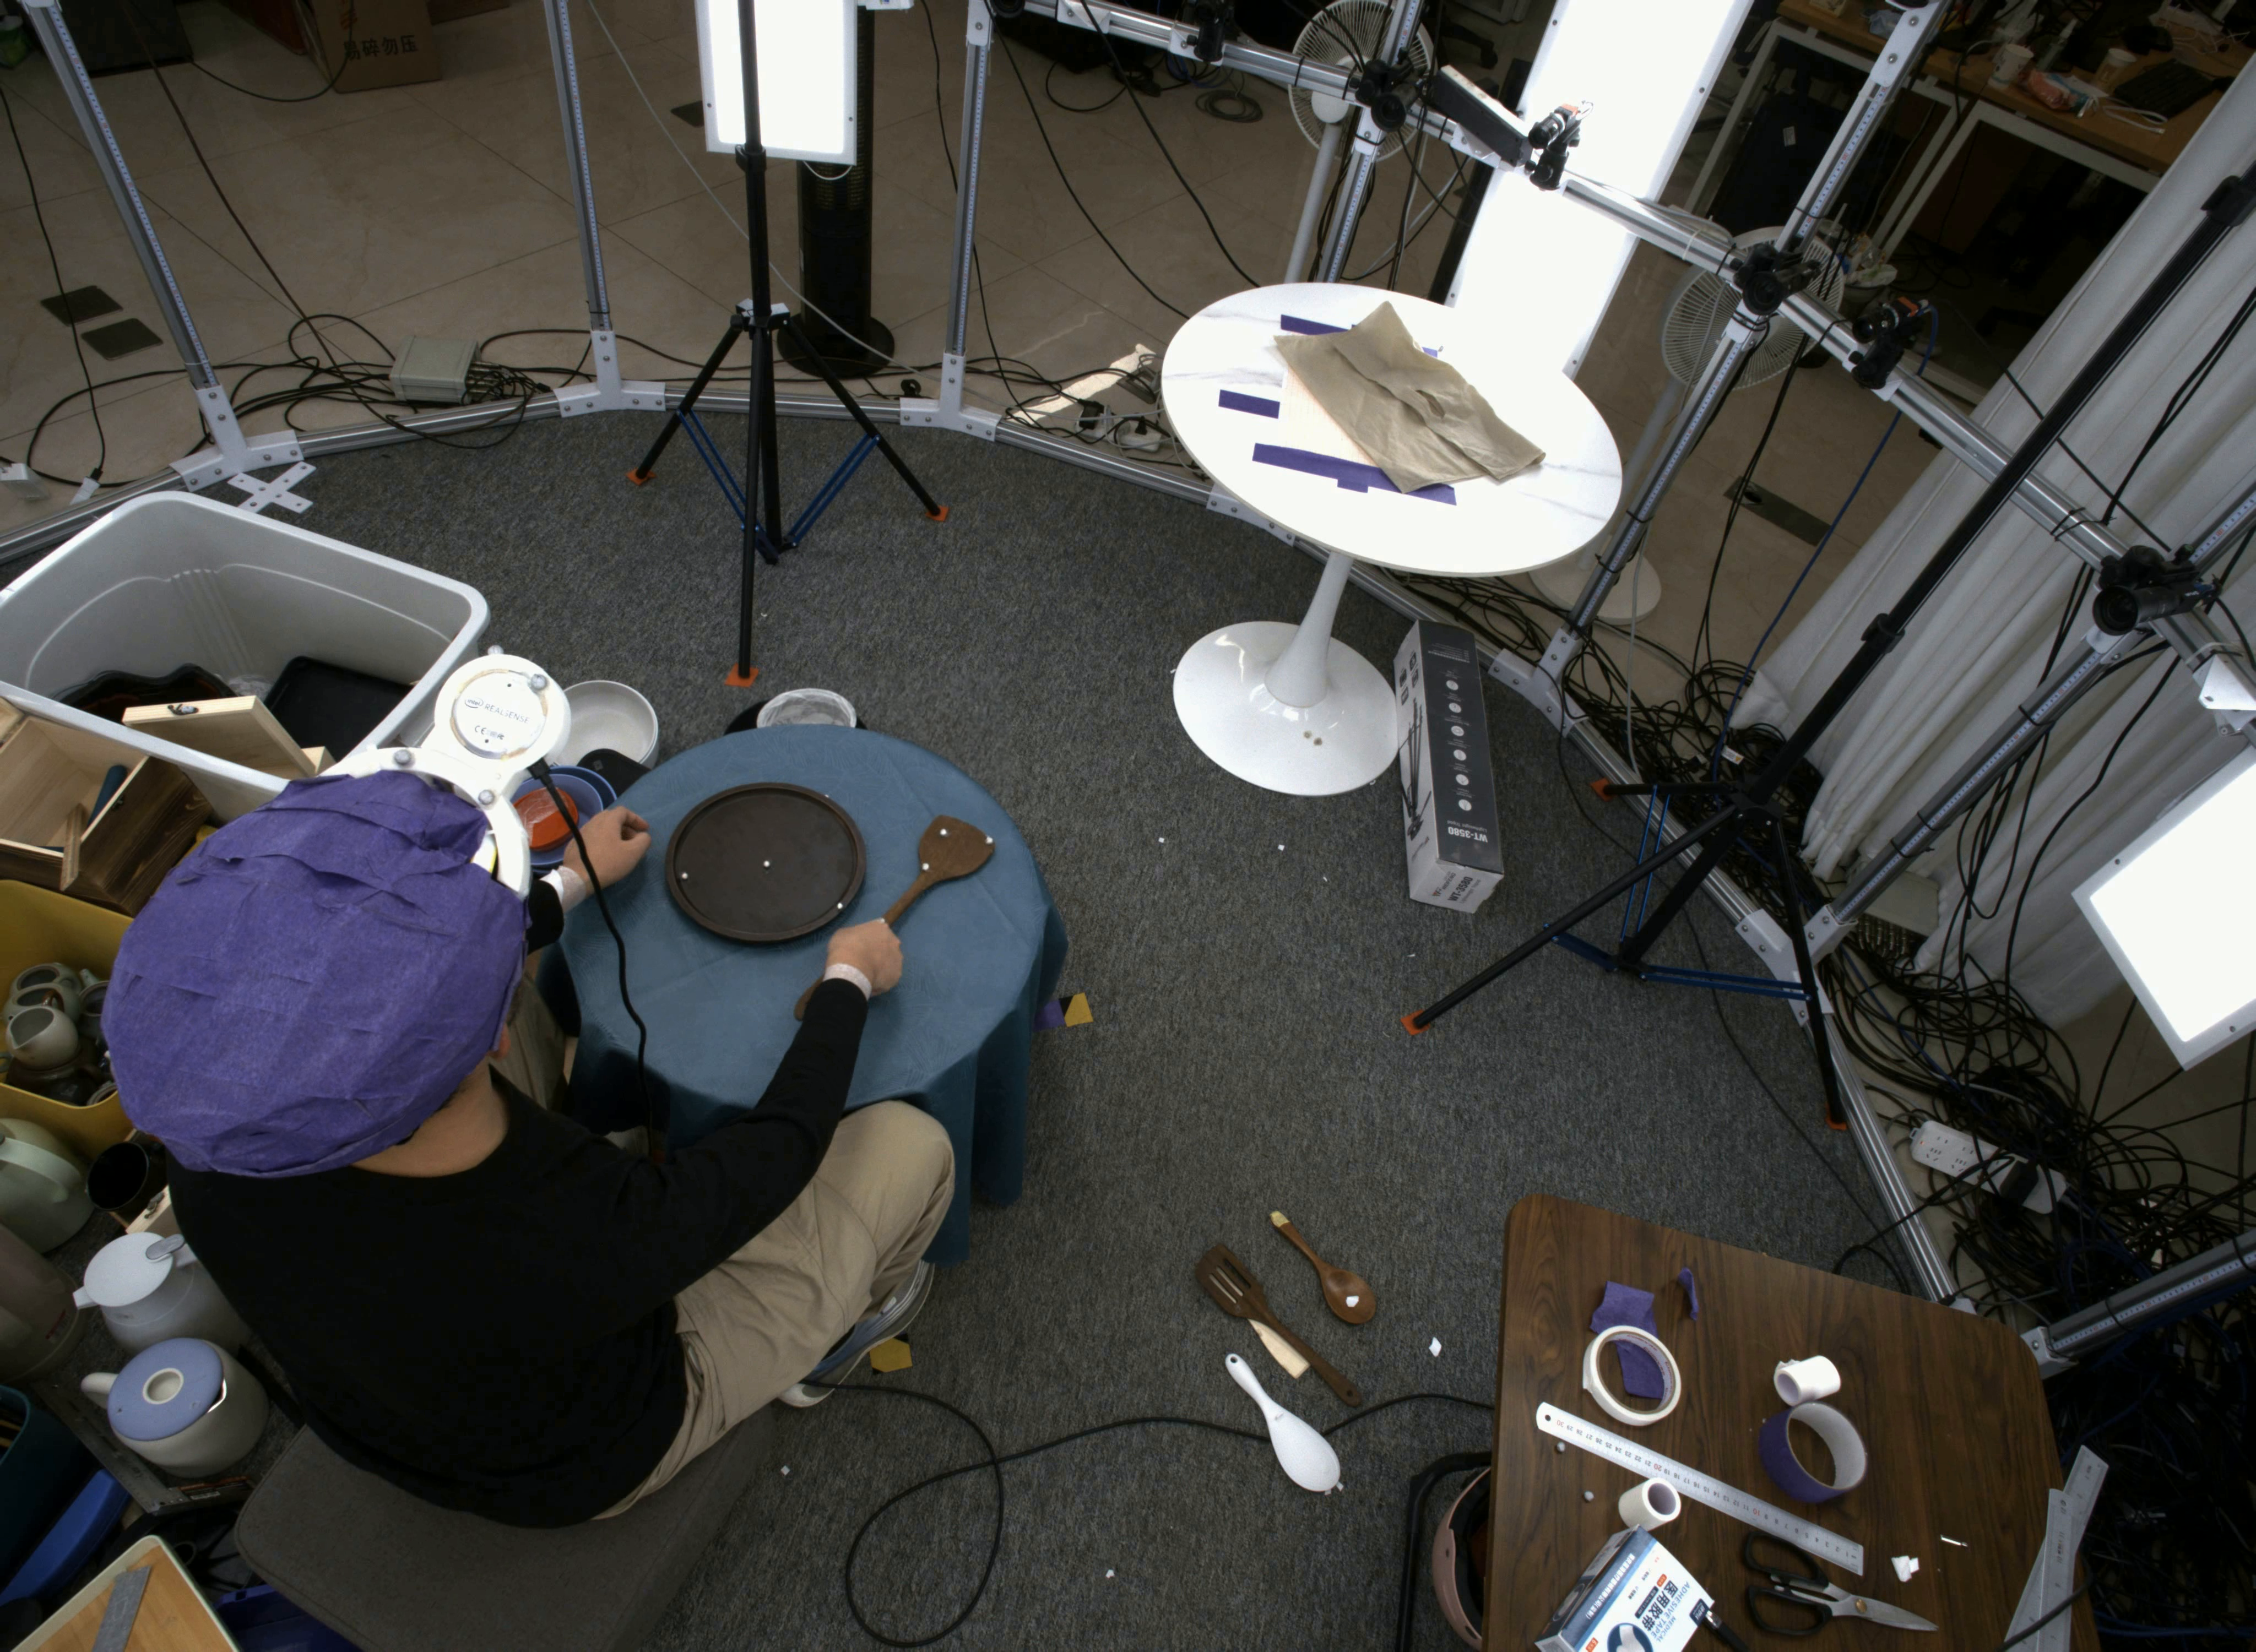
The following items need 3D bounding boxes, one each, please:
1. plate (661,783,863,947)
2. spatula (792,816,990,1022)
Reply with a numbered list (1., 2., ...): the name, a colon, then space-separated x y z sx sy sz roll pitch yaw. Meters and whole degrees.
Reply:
1. plate: -0.468 0.046 1.657 0.254 0.029 0.250 9 53 -10
2. spatula: -0.303 0.111 1.640 0.094 0.016 0.384 29 45 8
